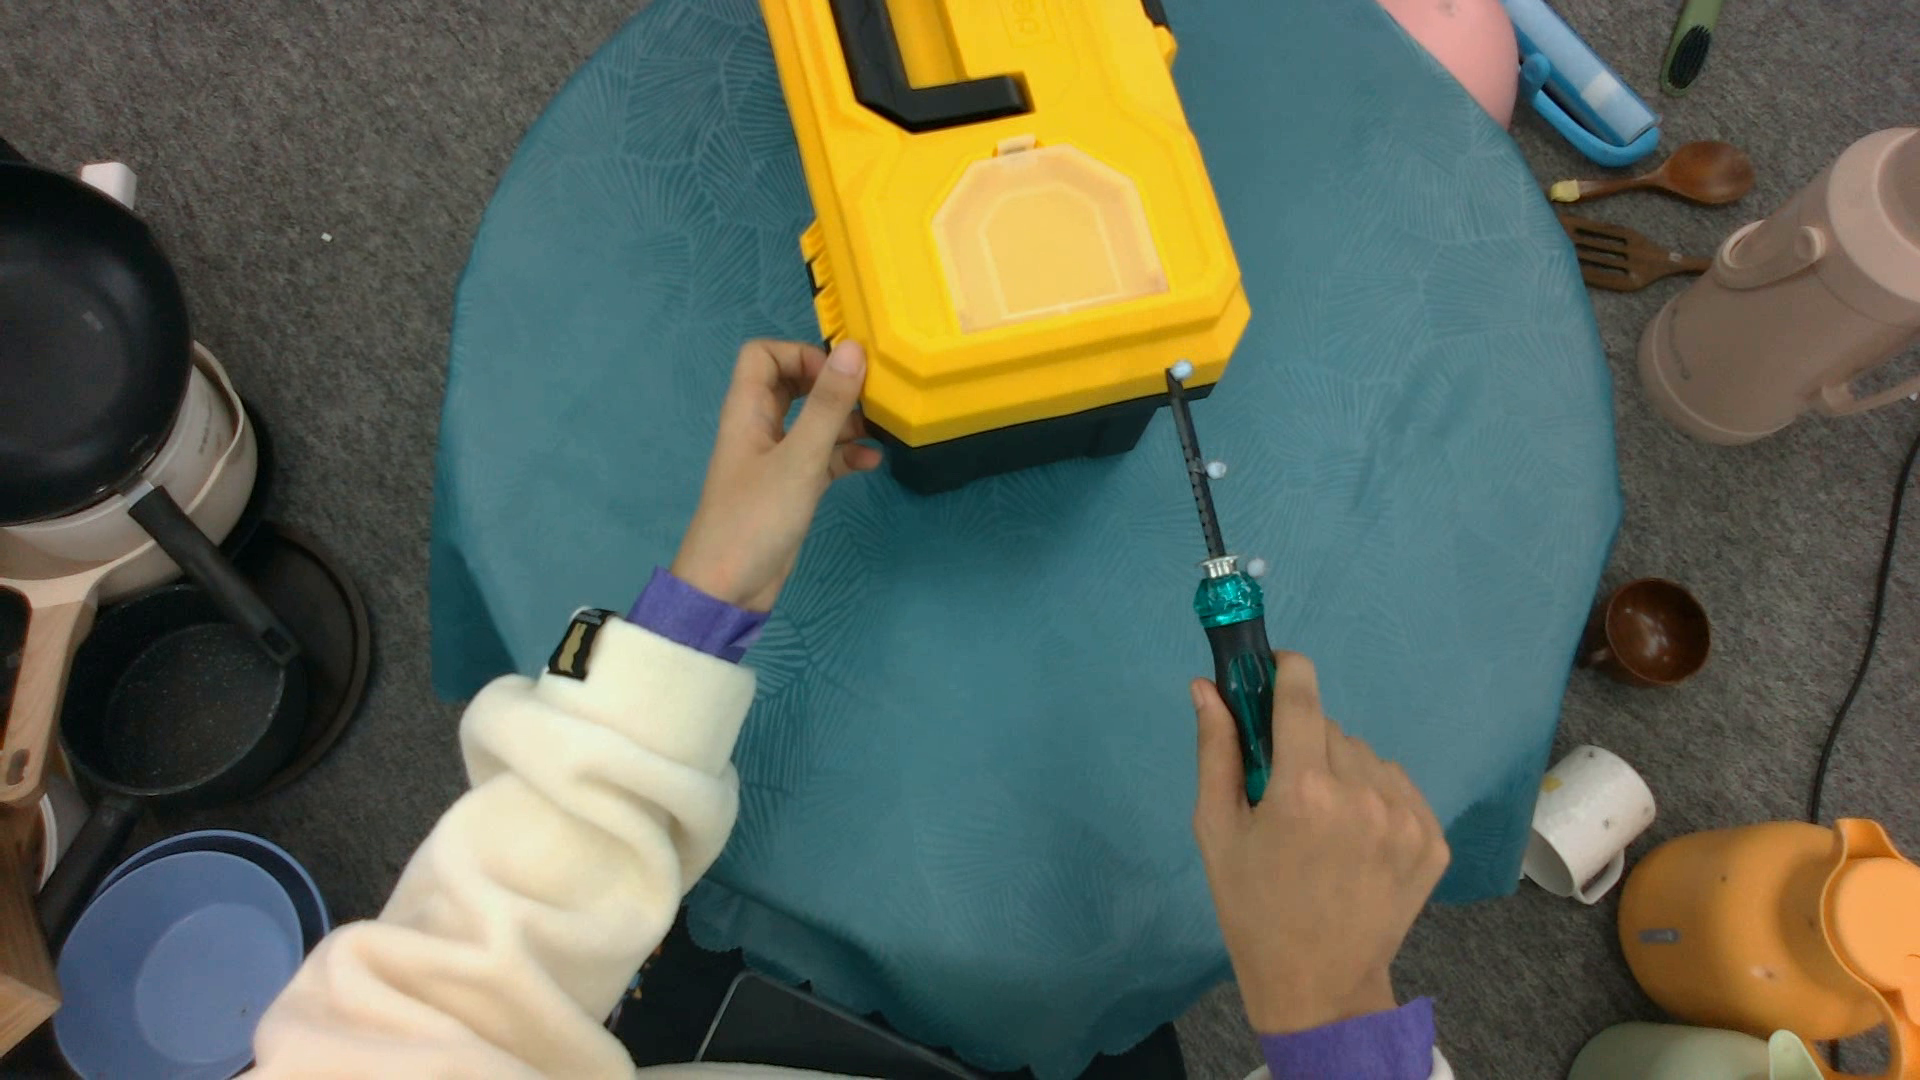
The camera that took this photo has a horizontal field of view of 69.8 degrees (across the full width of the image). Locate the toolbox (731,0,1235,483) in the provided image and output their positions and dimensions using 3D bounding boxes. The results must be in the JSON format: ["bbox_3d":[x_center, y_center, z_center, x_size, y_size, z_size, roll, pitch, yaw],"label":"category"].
[{"bbox_3d":[-0.009,-0.210,0.652,0.181,0.172,0.352,-13,74,-8],"label":"toolbox"}]

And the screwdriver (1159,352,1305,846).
[{"bbox_3d":[0.098,0.020,0.525,0.034,0.033,0.190,-11,84,-8],"label":"screwdriver"}]
